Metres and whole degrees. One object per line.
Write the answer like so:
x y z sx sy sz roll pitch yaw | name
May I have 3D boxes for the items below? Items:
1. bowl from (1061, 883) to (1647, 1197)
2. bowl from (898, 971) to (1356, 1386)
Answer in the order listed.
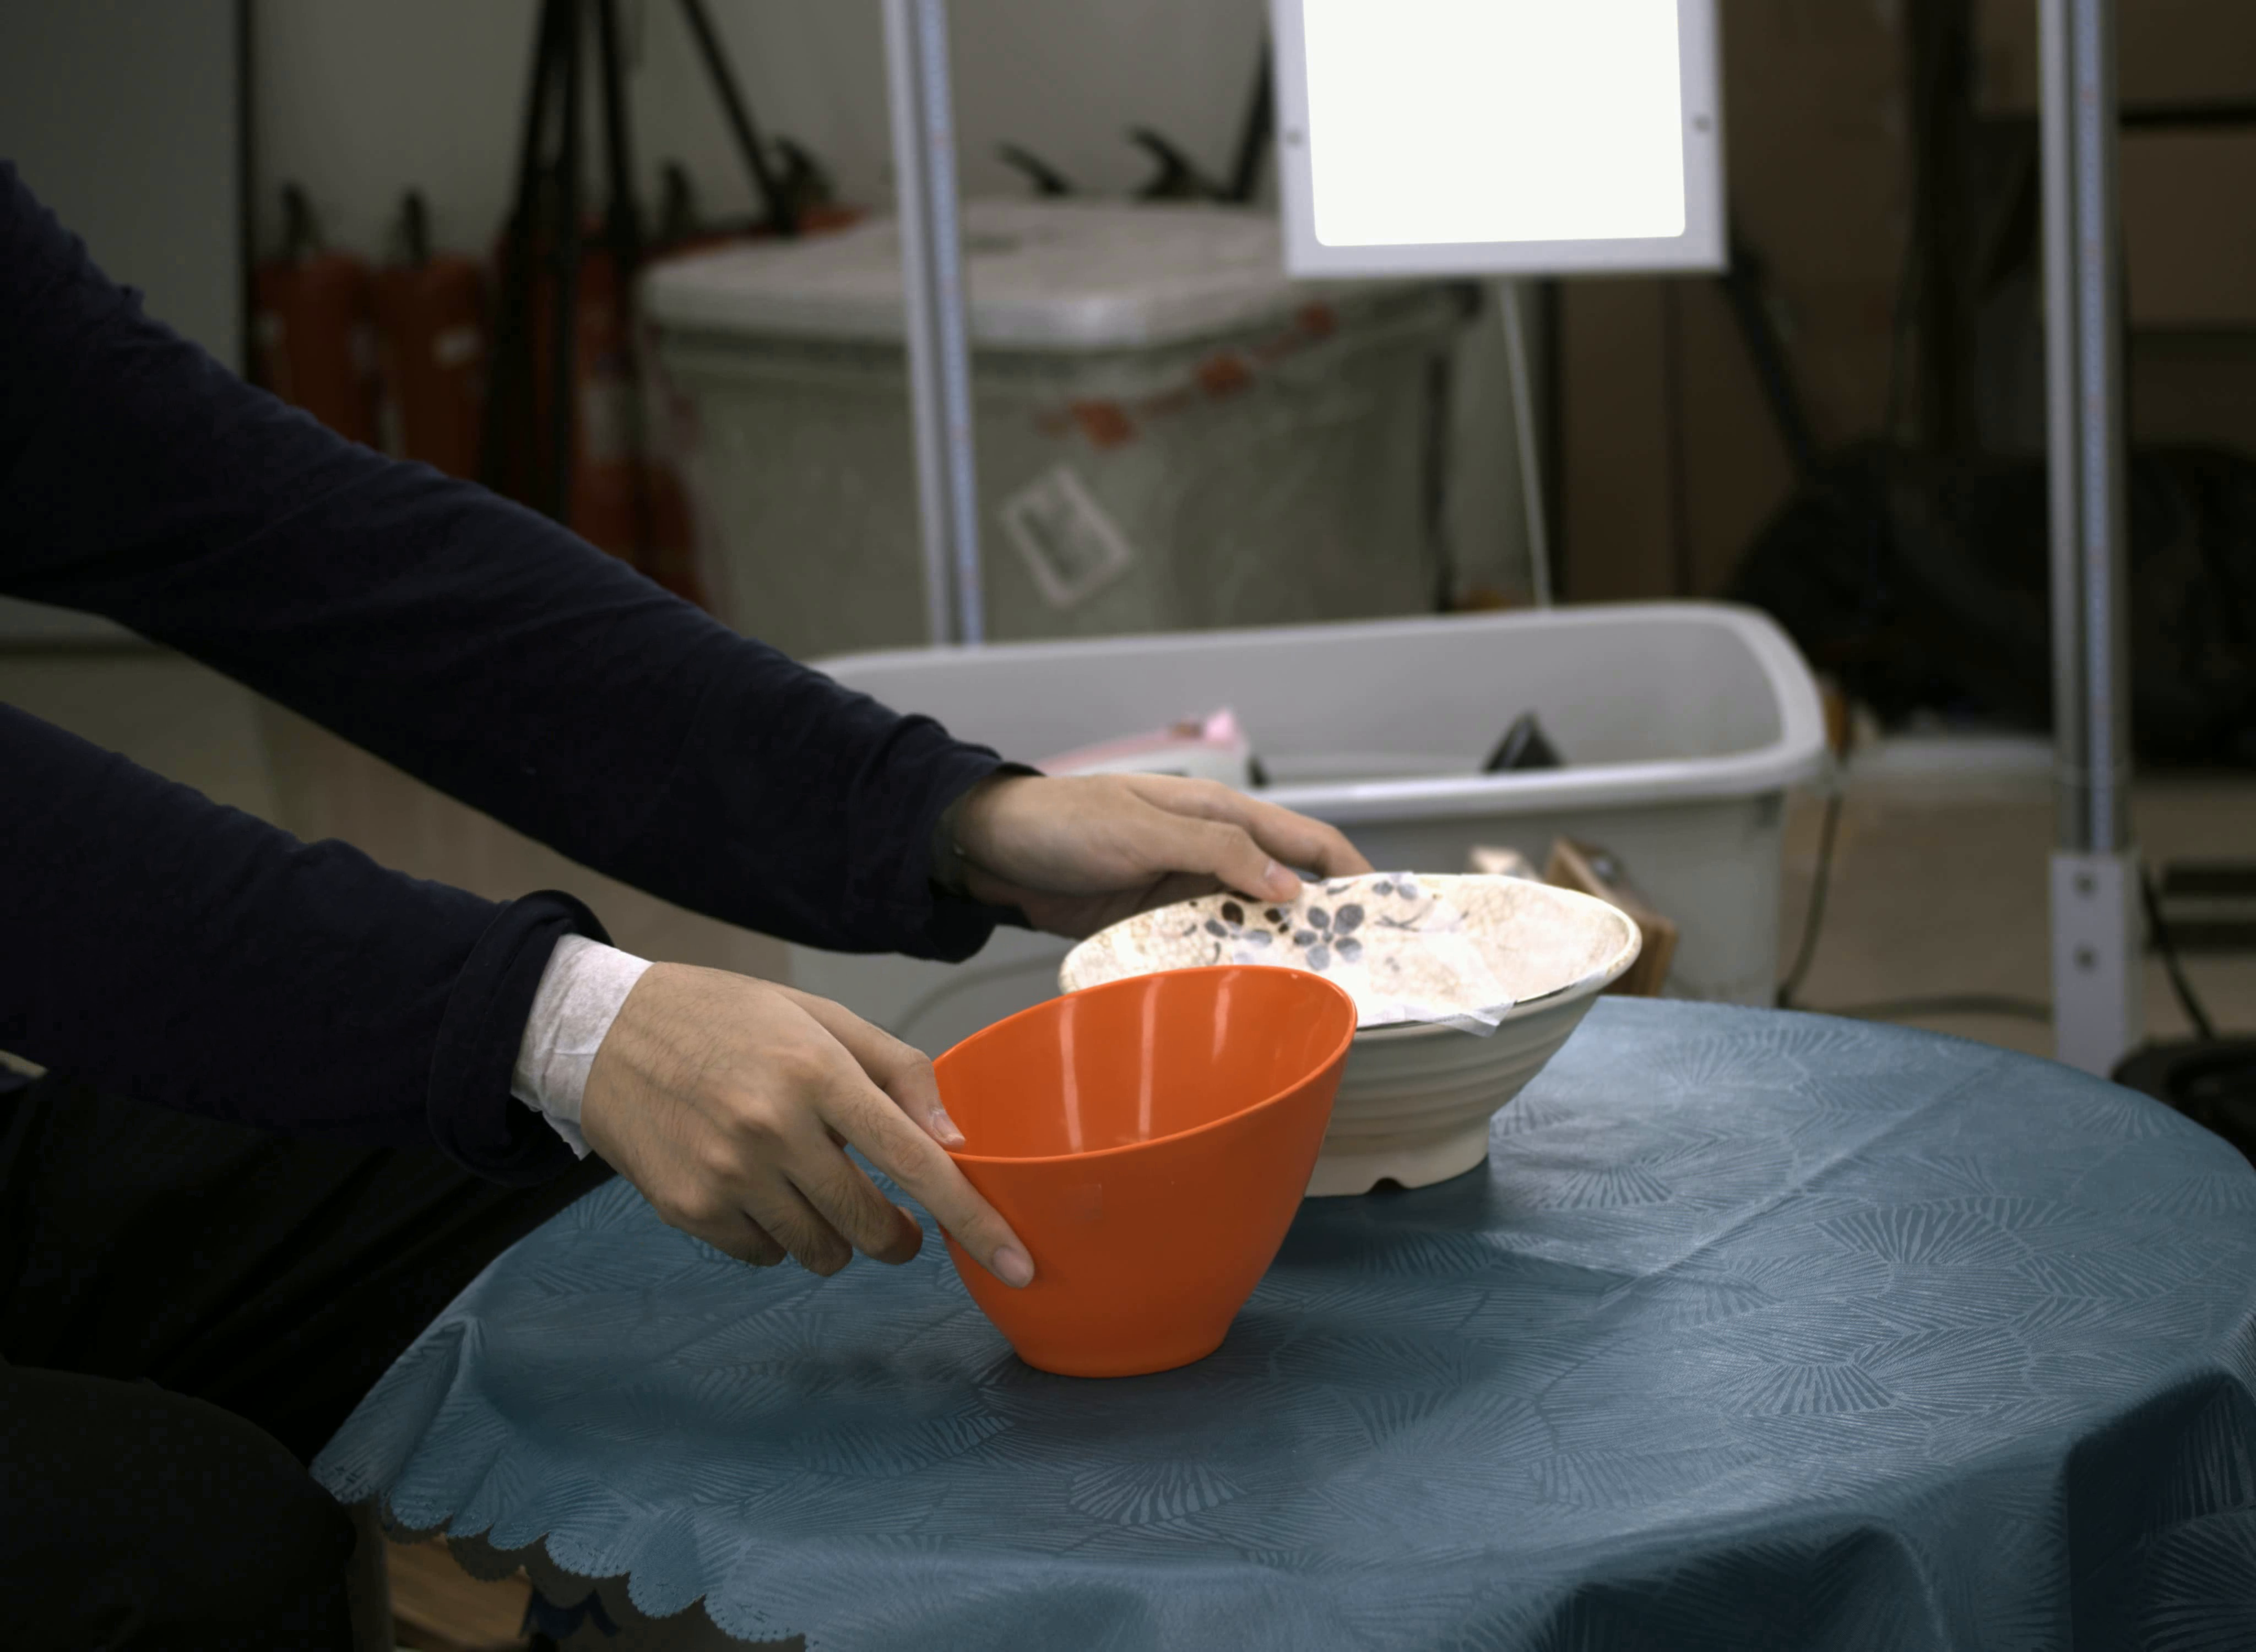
0.081 0.079 1.905 0.203 0.078 0.204 -5 12 0 | bowl
0.004 0.115 1.741 0.148 0.105 0.148 -7 14 0 | bowl
